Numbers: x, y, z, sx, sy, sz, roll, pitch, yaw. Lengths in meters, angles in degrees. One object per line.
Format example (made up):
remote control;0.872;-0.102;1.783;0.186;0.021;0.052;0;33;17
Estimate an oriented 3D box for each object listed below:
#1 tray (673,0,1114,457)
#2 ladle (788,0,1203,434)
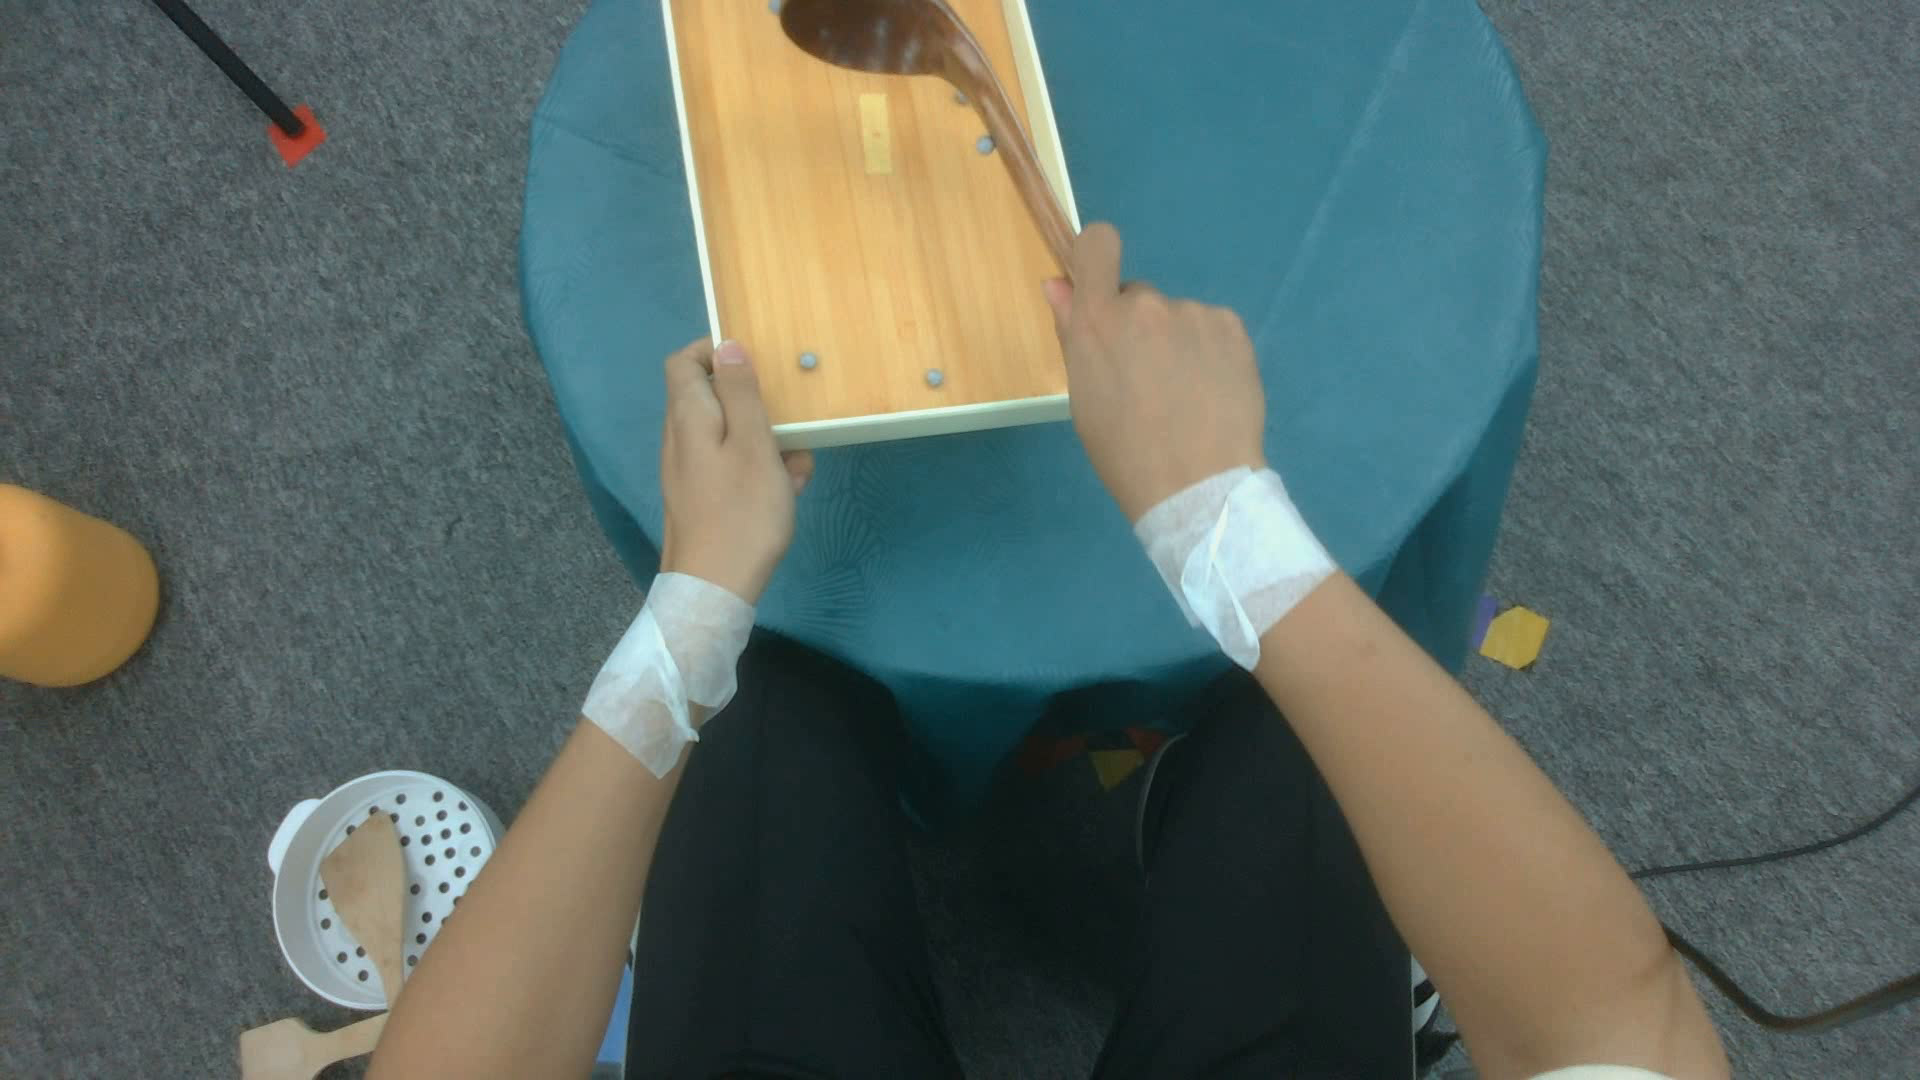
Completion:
tray;-0.041;-0.191;0.722;0.192;0.027;0.301;-7;70;-11
ladle;0.010;-0.151;0.637;0.076;0.082;0.274;-30;80;6
